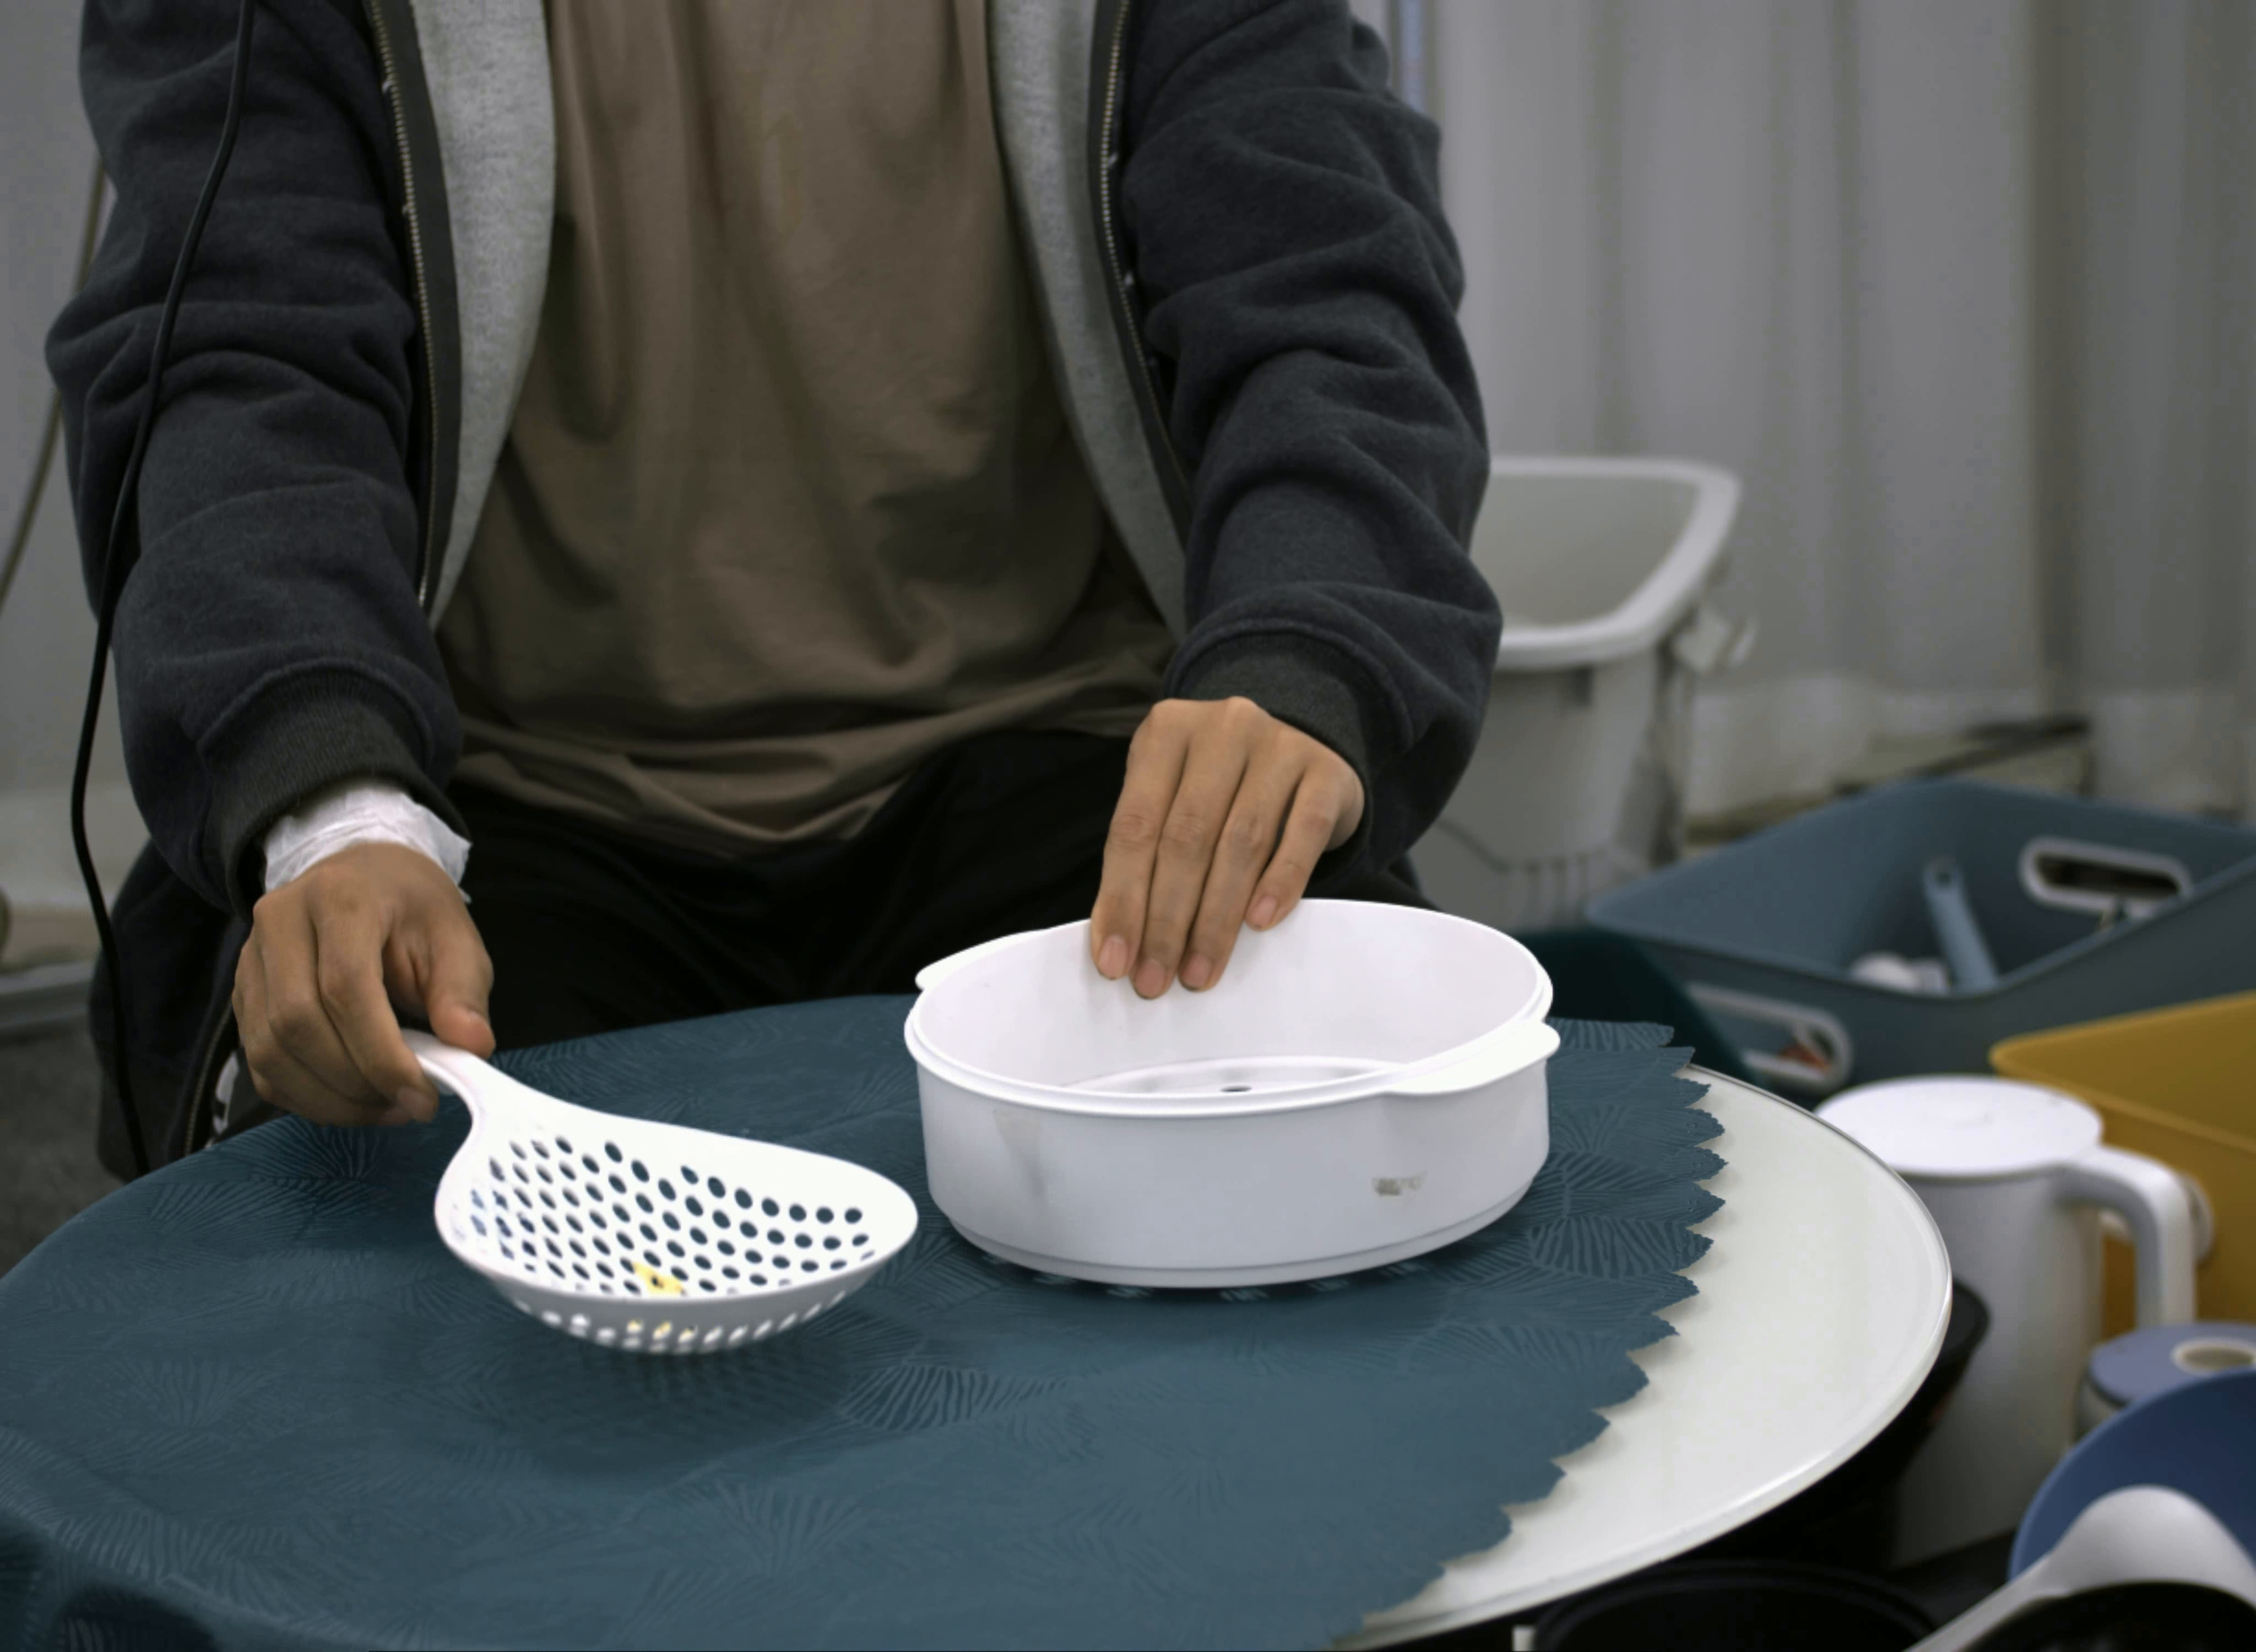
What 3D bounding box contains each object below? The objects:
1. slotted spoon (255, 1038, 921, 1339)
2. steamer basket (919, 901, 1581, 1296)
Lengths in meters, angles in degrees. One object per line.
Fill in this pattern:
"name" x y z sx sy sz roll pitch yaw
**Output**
"slotted spoon" -0.186 0.097 1.674 0.136 0.050 0.351 -12 21 -29
"steamer basket" 0.037 0.084 1.689 0.232 0.069 0.201 12 22 41
